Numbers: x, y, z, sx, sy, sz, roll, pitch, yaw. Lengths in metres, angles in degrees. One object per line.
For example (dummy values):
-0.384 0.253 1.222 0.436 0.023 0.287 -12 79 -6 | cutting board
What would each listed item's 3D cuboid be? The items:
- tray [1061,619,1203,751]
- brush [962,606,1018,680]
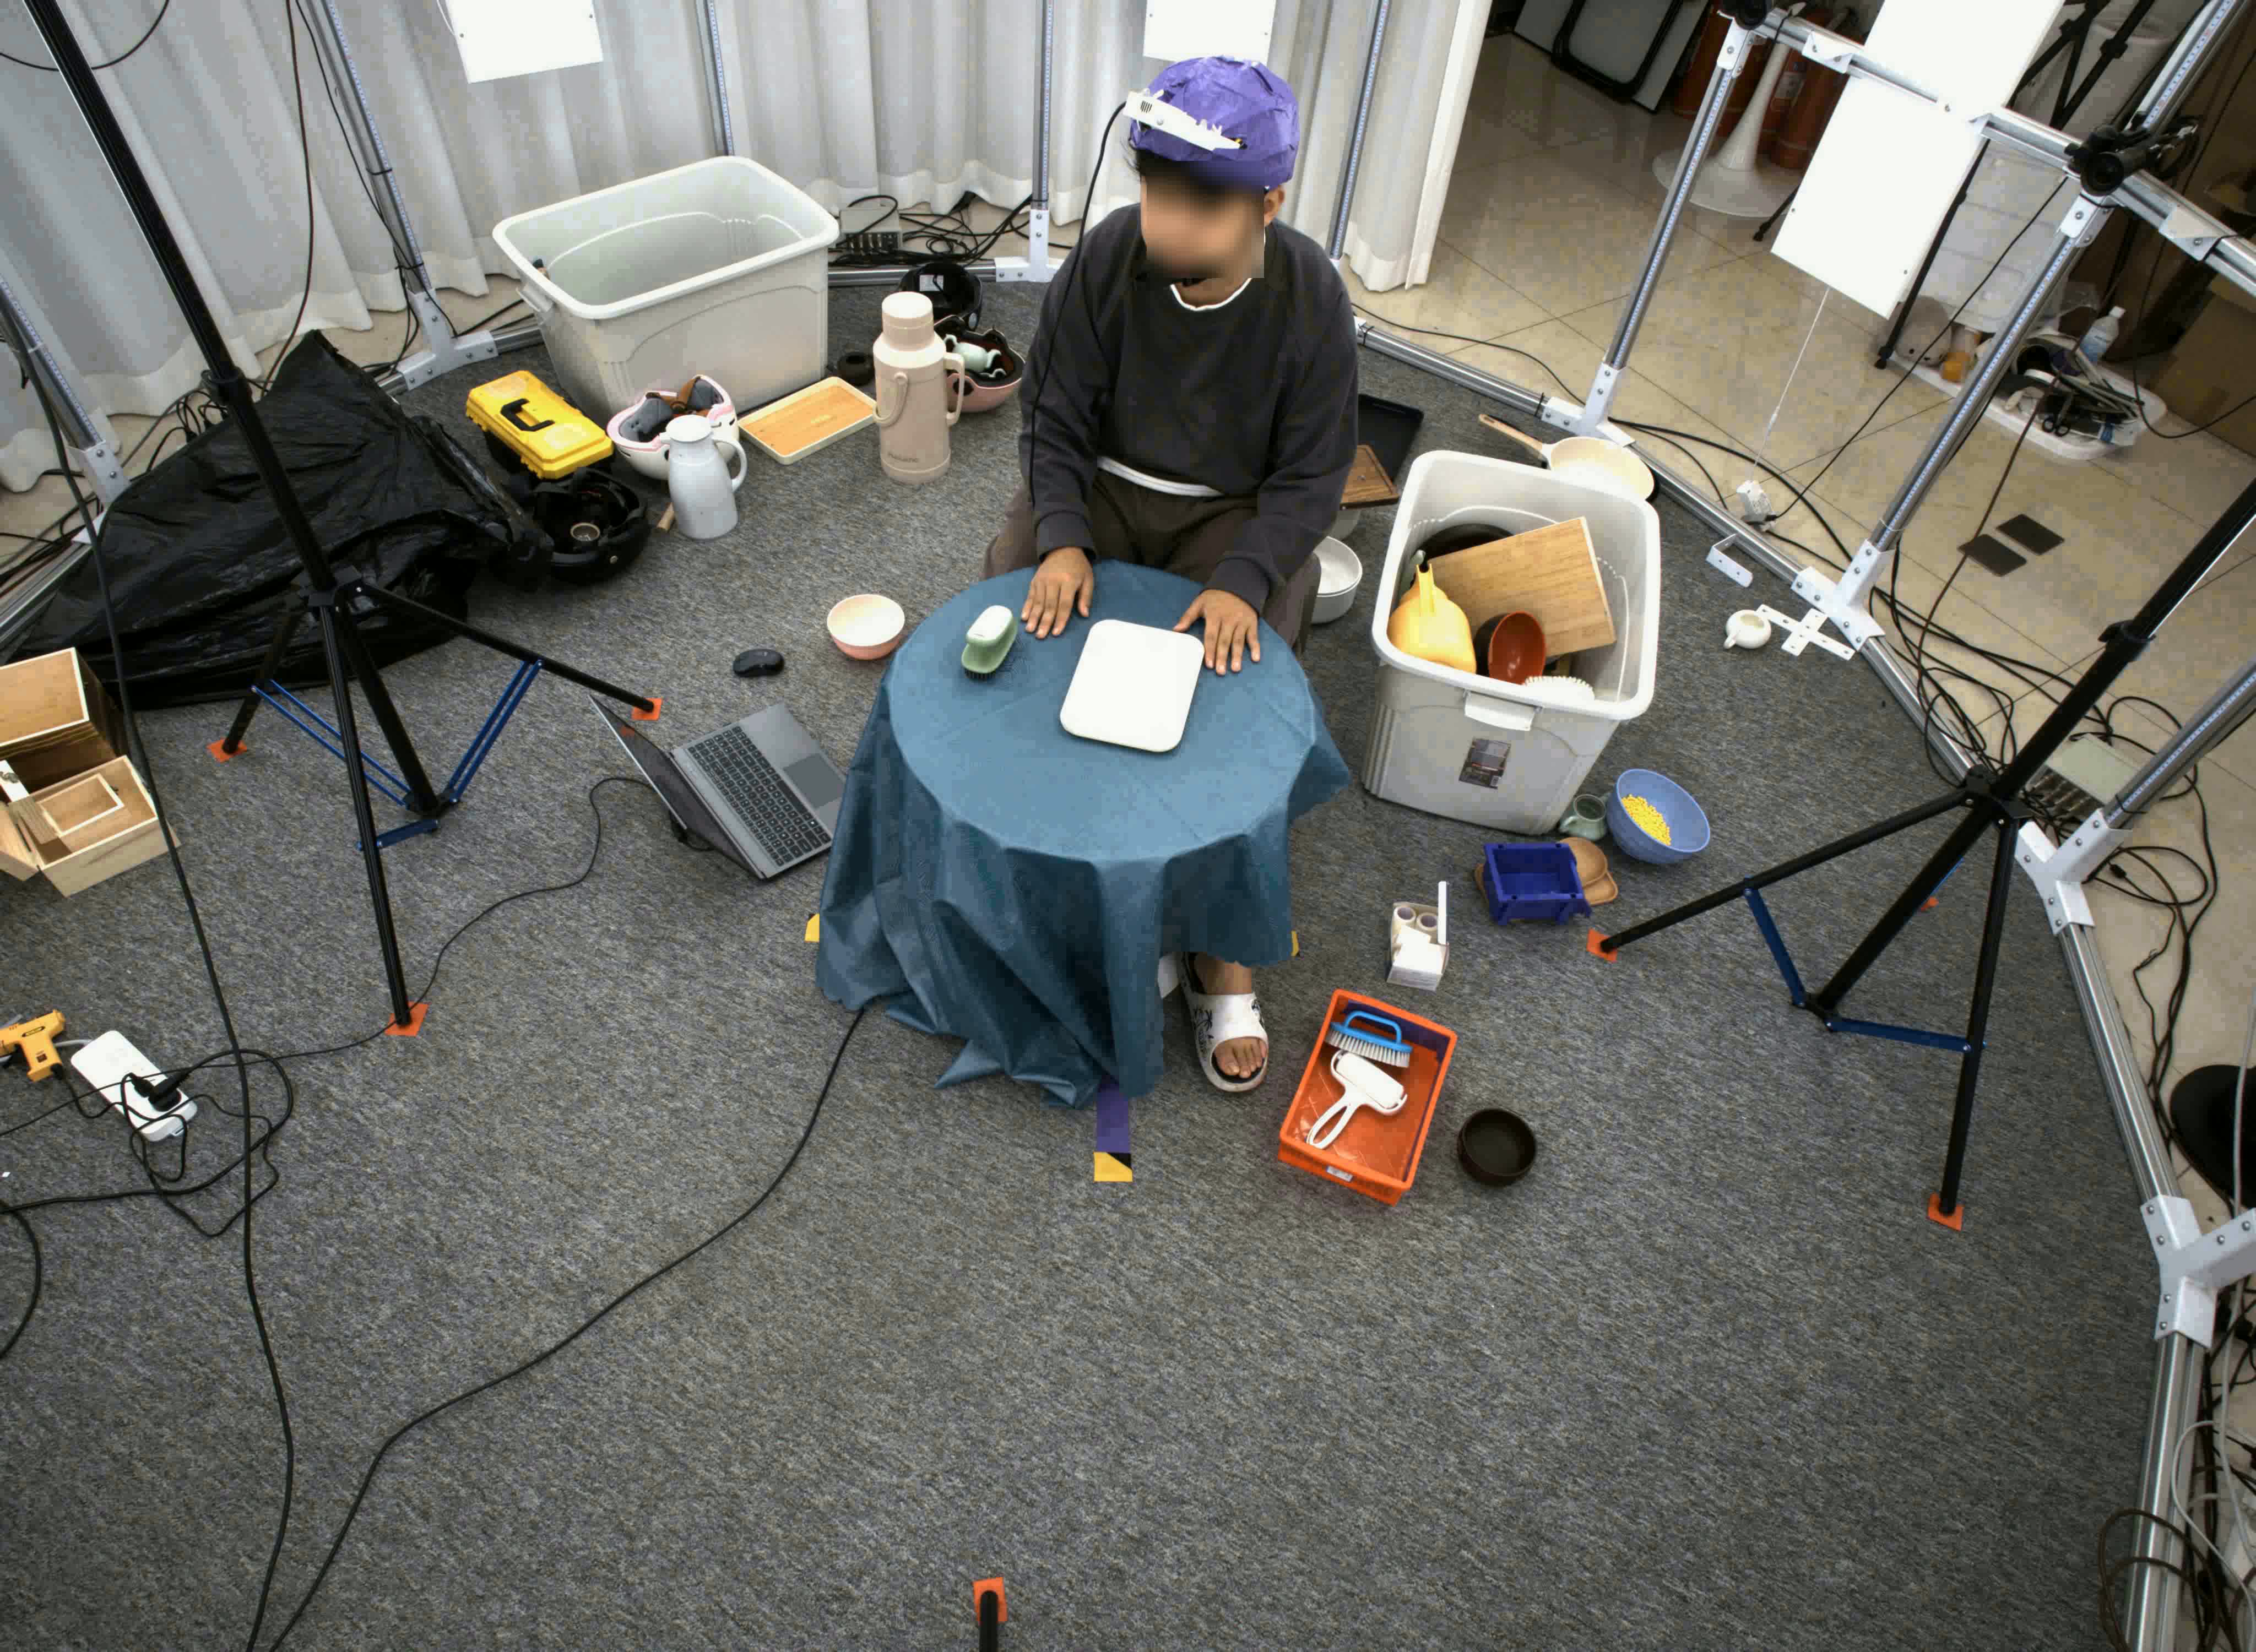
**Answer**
0.008 -0.202 1.829 0.171 0.017 0.245 12 49 5 | tray
-0.198 -0.264 1.845 0.060 0.074 0.125 16 36 7 | brush
